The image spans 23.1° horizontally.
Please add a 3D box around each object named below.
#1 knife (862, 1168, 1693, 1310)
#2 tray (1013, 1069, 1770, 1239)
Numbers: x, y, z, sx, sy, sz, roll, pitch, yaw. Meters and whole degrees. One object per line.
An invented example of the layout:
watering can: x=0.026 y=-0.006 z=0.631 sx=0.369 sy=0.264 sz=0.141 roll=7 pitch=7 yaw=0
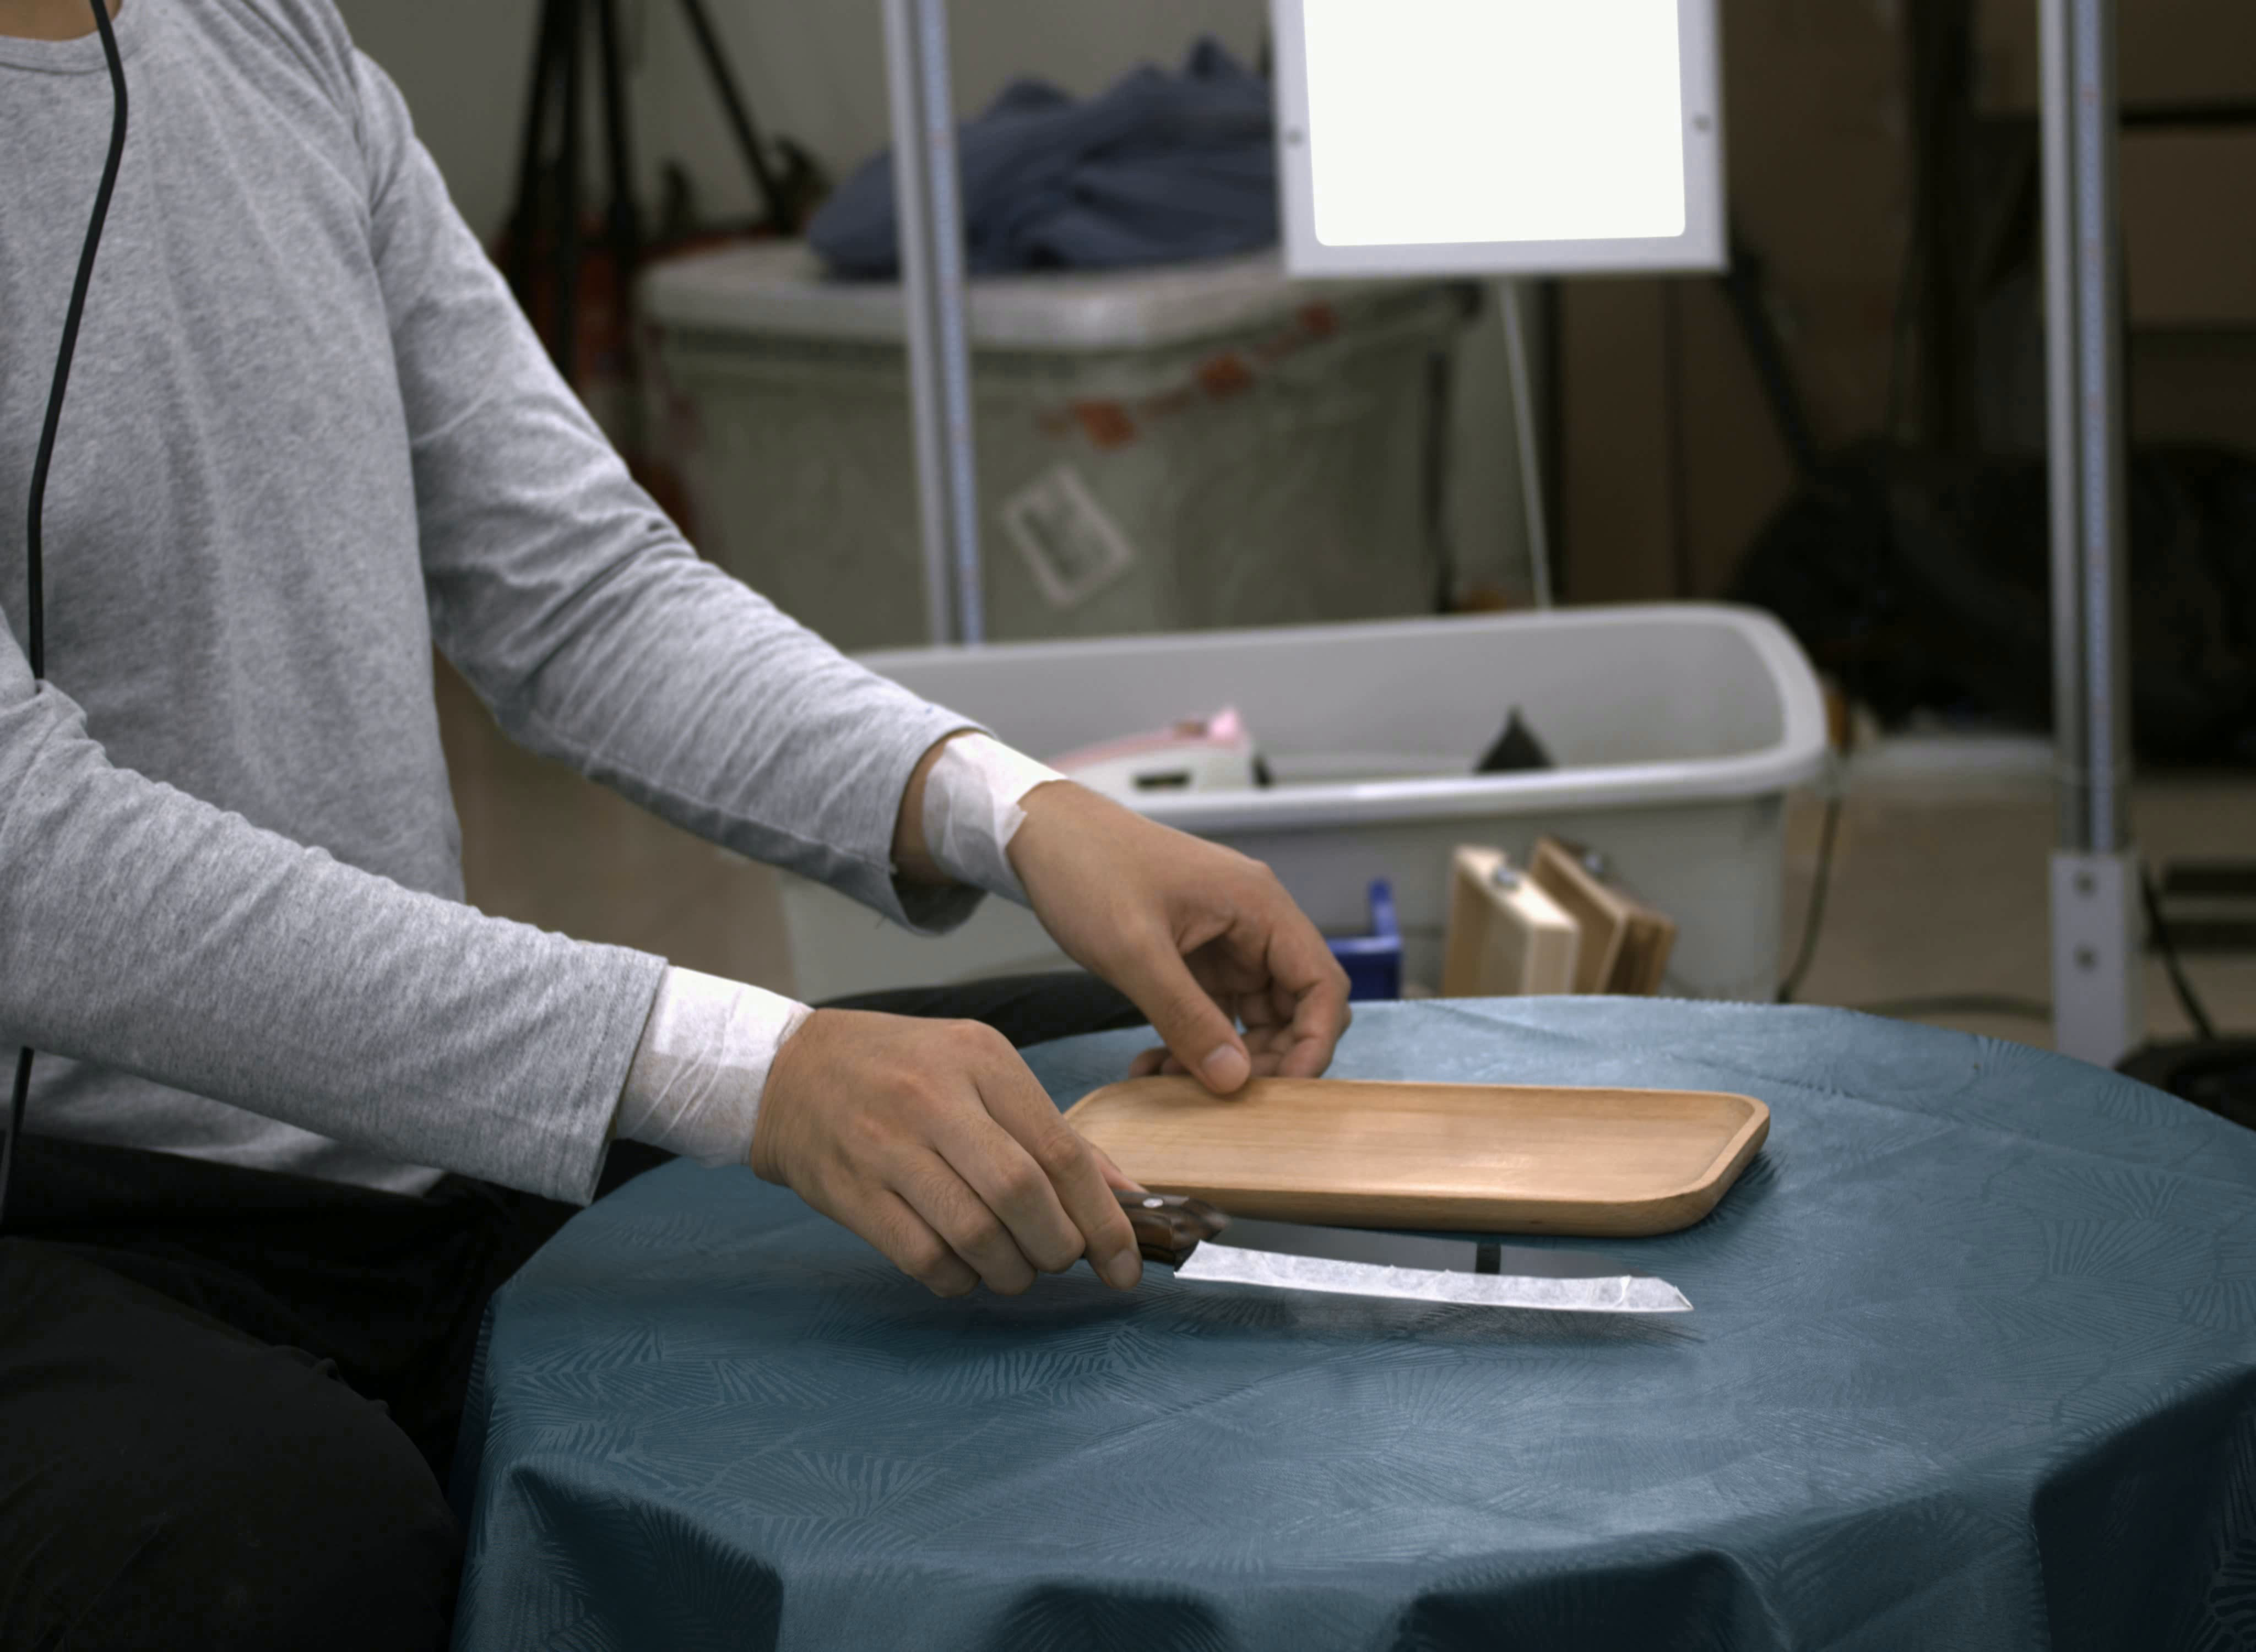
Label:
knife: x=0.044 y=0.135 z=1.764 sx=0.293 sy=0.020 sz=0.049 roll=5 pitch=26 yaw=24
tray: x=0.091 y=0.112 z=1.895 sx=0.254 sy=0.023 sz=0.128 roll=0 pitch=12 yaw=24
